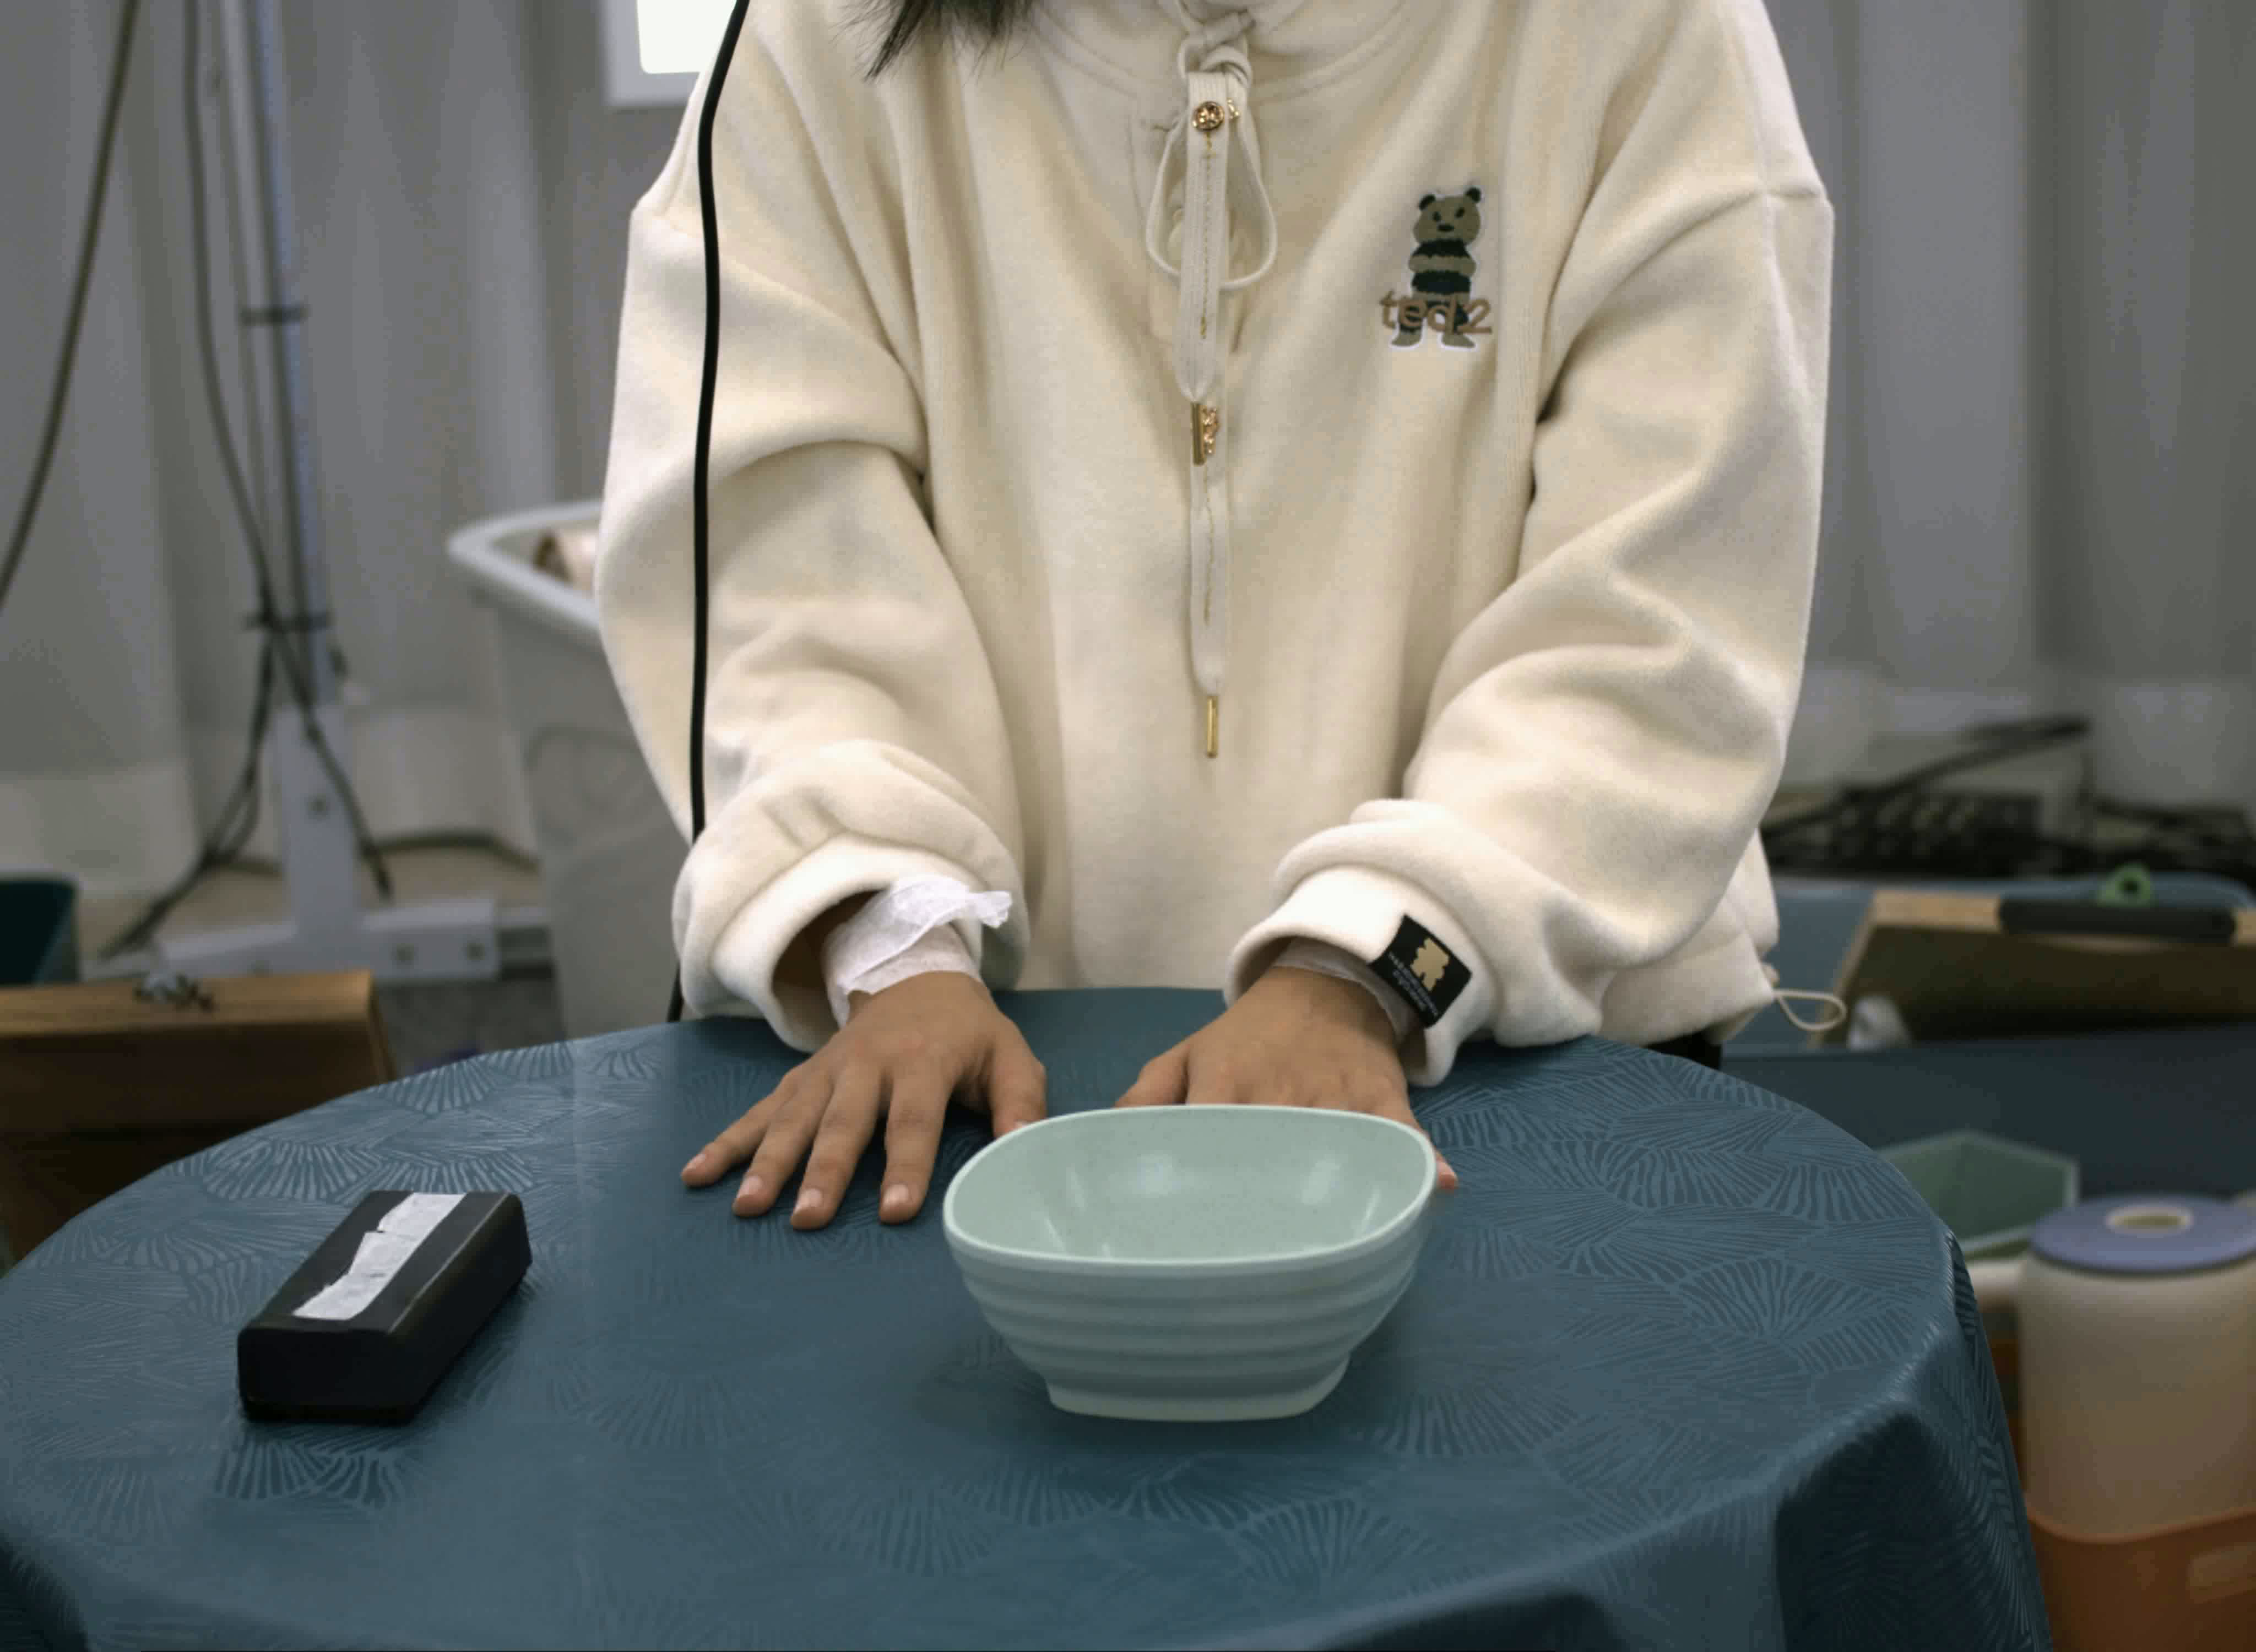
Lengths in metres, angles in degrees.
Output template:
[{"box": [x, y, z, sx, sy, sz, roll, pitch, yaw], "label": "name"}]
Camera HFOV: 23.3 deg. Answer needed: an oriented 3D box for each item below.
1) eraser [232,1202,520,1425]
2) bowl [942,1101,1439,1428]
[{"box": [-0.218, 0.142, 1.603, 0.053, 0.030, 0.126, 1, 13, 8], "label": "eraser"}, {"box": [0.018, 0.128, 1.552, 0.151, 0.058, 0.152, 0, 16, 0], "label": "bowl"}]
